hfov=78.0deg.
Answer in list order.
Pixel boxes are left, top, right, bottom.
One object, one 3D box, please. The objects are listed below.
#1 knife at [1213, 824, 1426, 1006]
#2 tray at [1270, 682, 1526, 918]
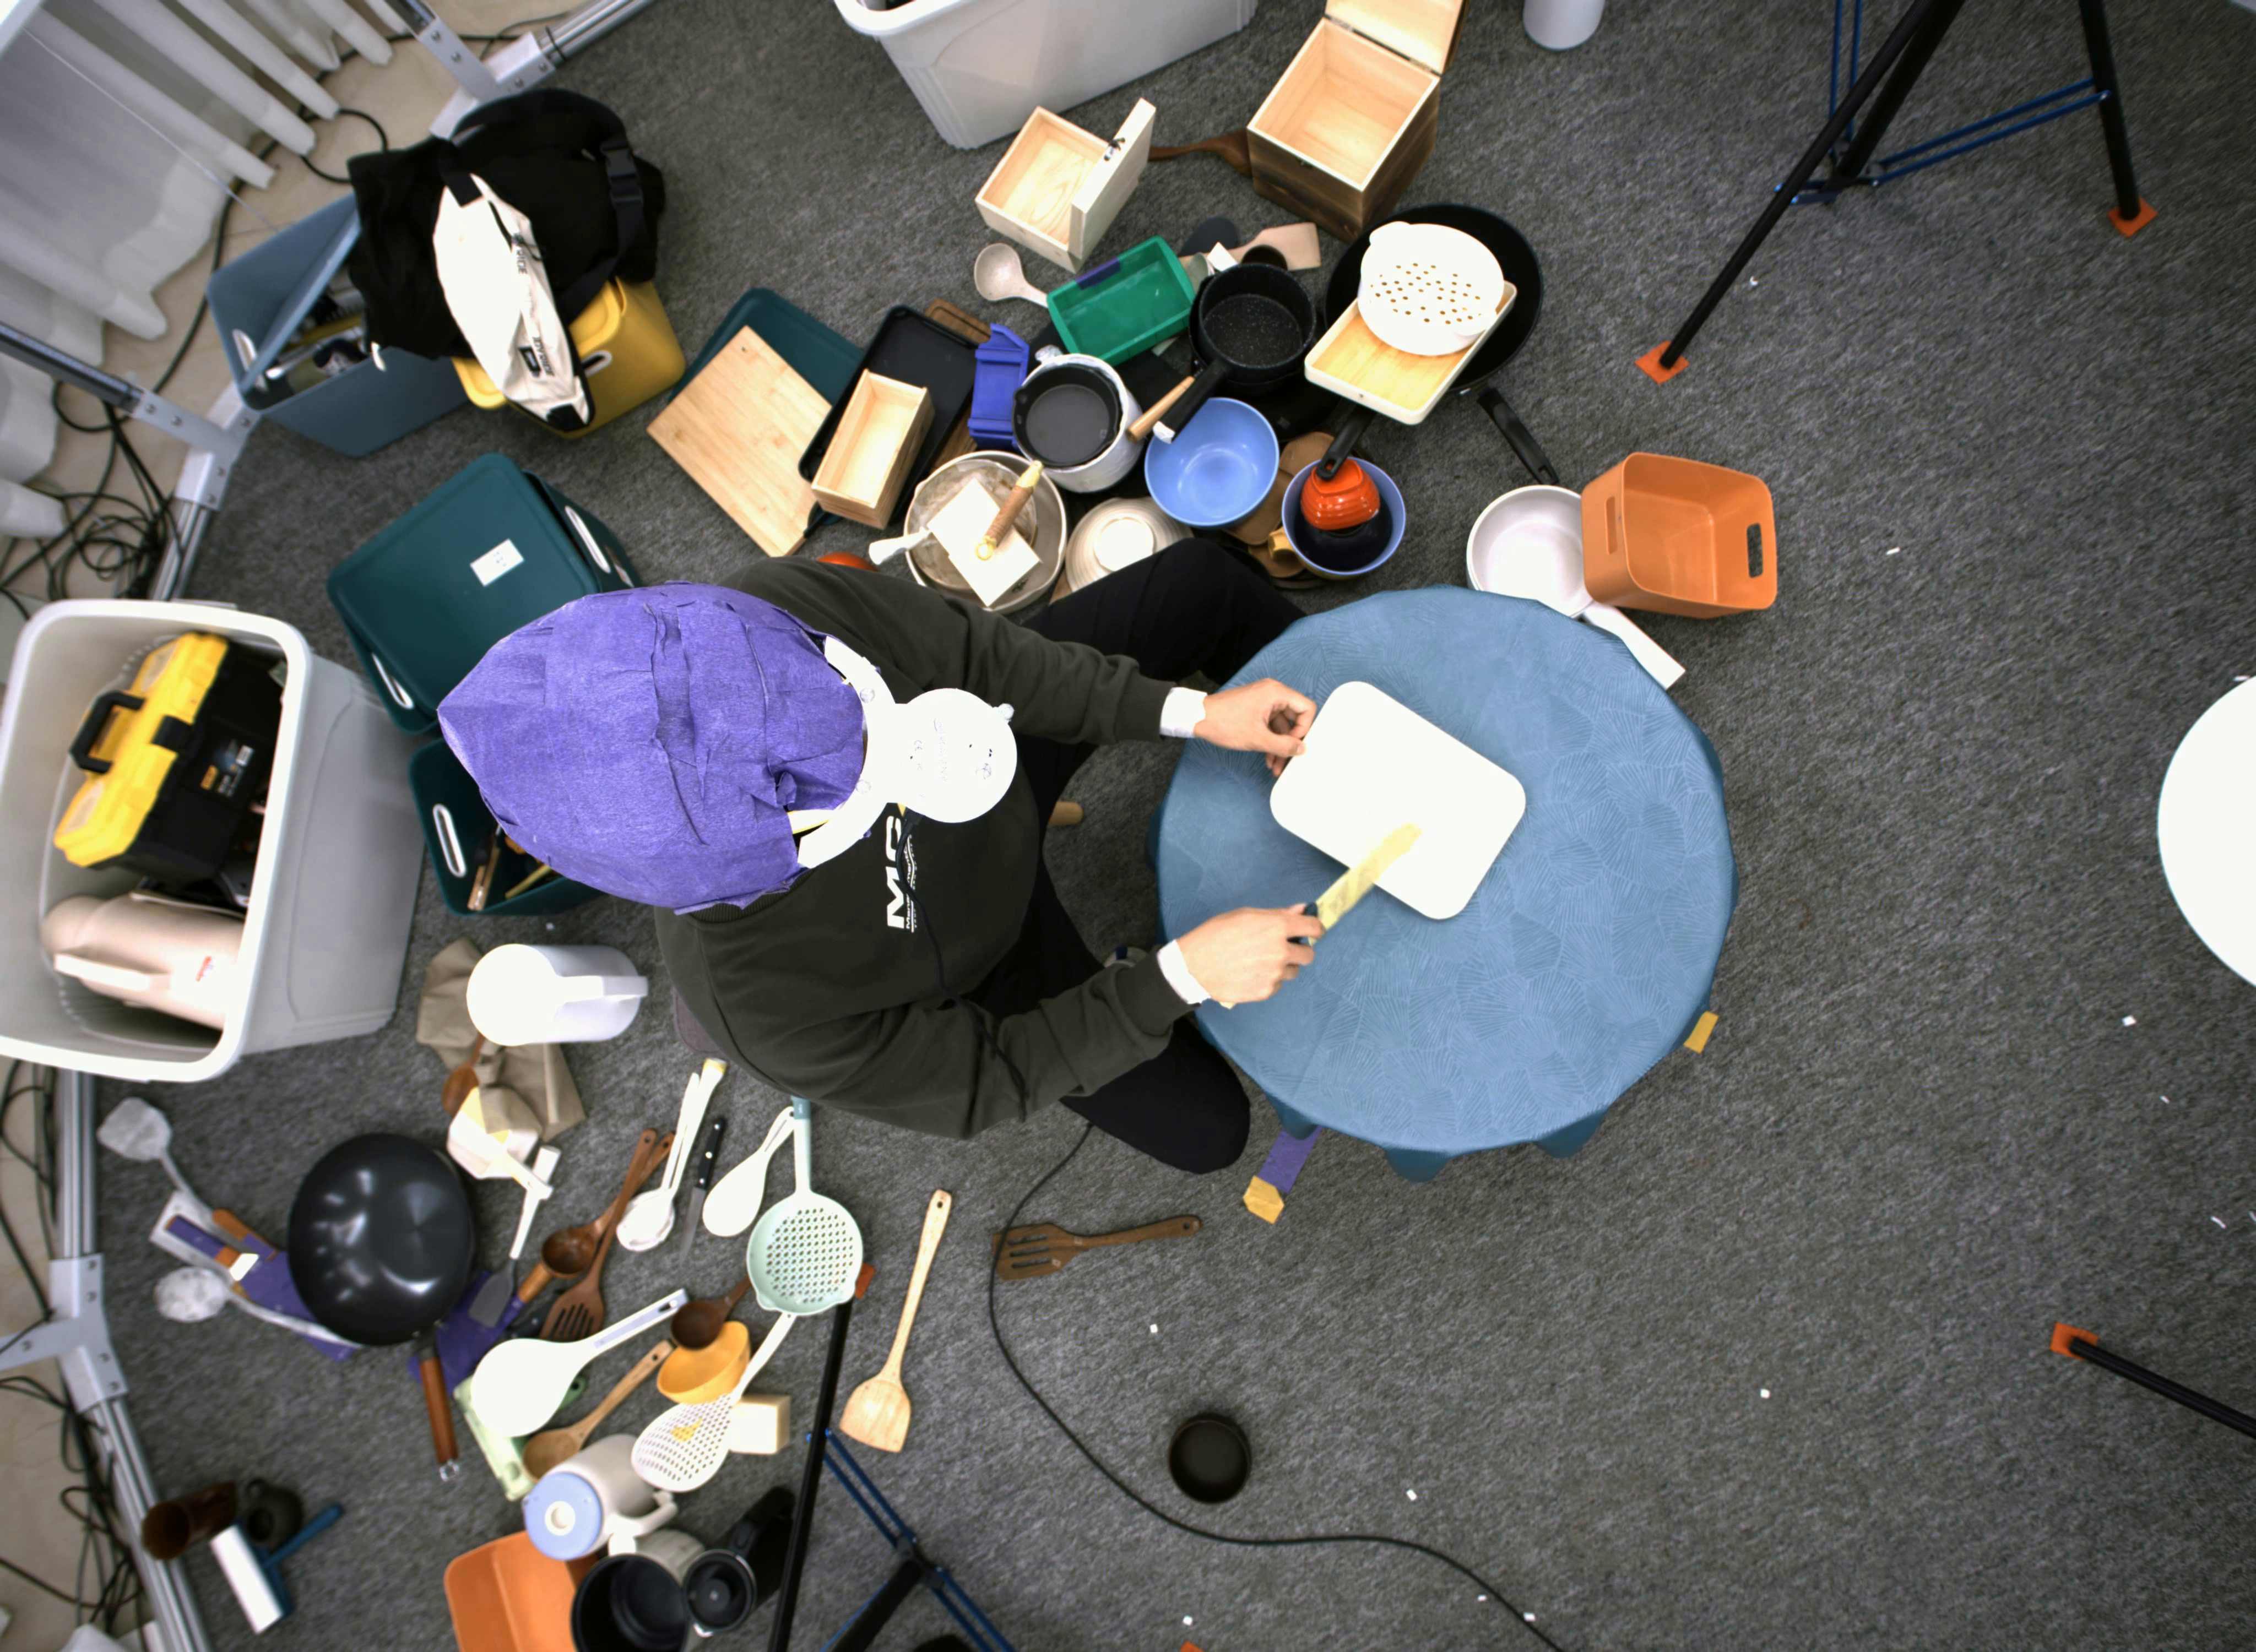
[{"bbox_3d":[0.195,0.087,1.372,0.286,0.083,0.027,-38,58,-14],"label":"knife"},{"bbox_3d":[0.278,-0.028,1.419,0.240,0.017,0.172,31,97,-7],"label":"tray"}]
